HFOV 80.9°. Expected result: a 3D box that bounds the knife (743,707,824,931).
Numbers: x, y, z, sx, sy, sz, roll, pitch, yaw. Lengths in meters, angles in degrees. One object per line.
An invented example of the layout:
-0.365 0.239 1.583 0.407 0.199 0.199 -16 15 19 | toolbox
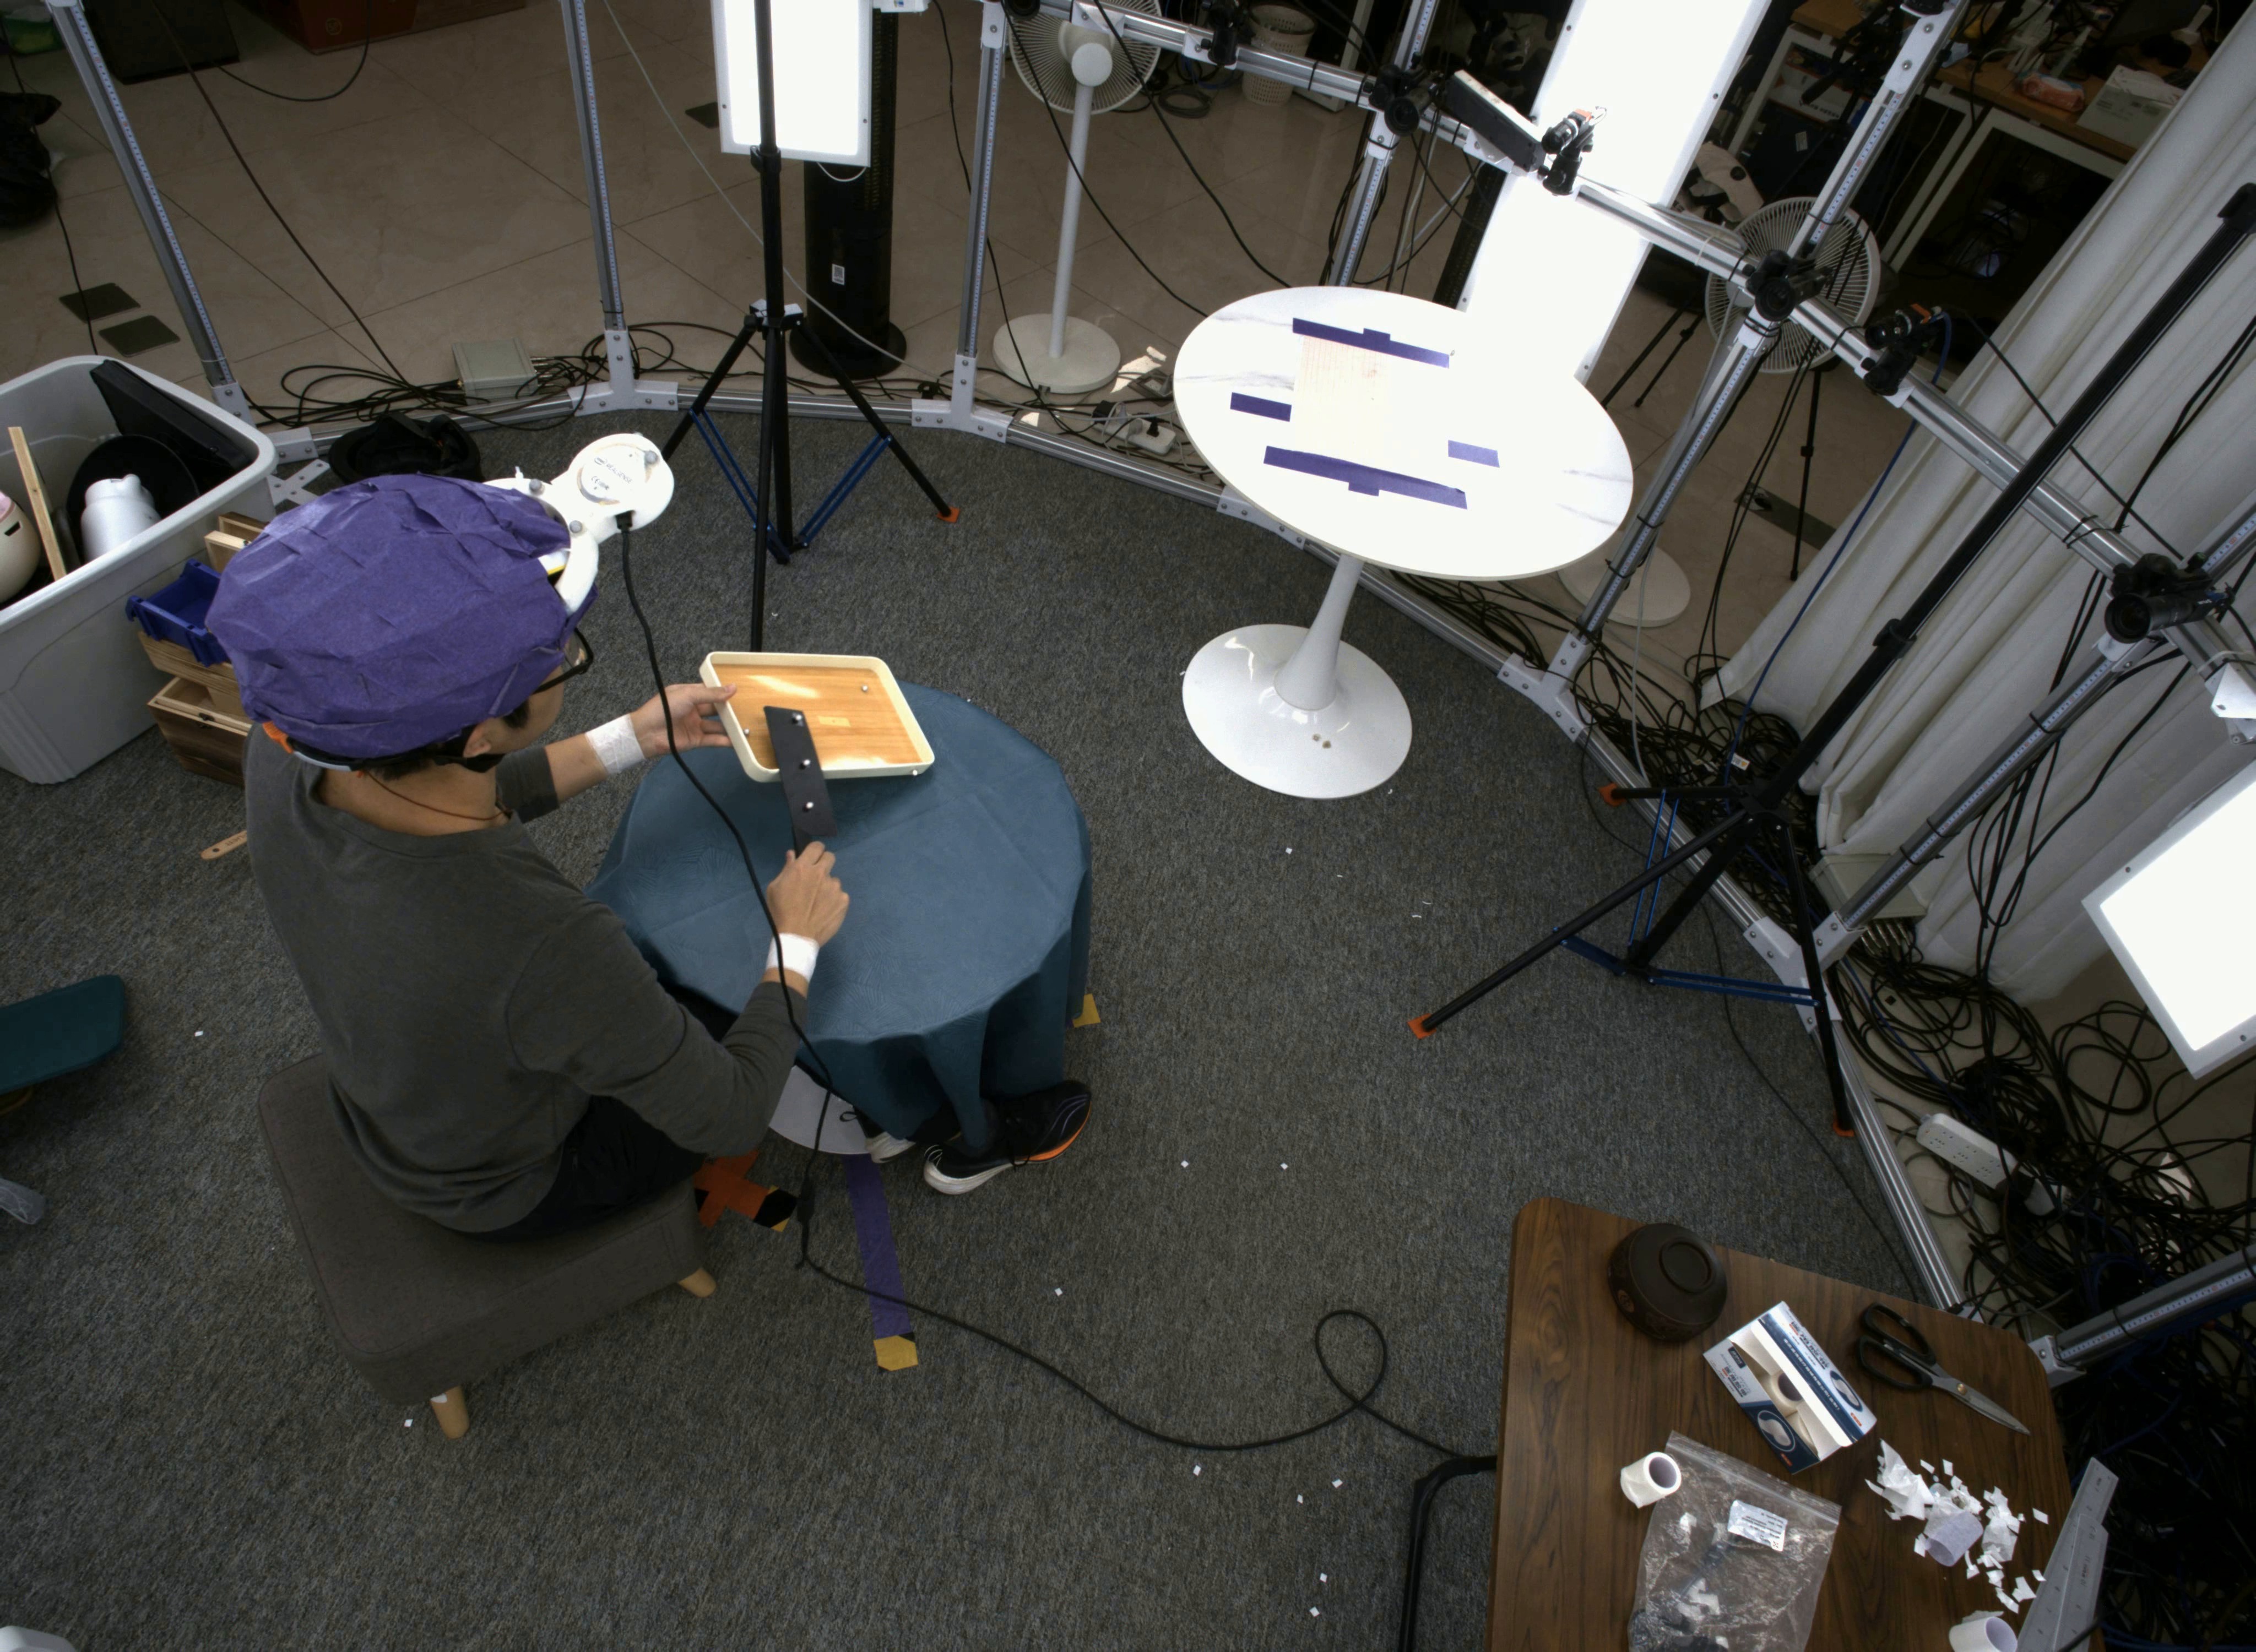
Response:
-0.416 -0.014 1.597 0.083 0.020 0.299 7 60 -50 | knife

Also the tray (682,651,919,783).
-0.431 -0.147 1.722 0.305 0.027 0.189 -7 63 -52 | tray
